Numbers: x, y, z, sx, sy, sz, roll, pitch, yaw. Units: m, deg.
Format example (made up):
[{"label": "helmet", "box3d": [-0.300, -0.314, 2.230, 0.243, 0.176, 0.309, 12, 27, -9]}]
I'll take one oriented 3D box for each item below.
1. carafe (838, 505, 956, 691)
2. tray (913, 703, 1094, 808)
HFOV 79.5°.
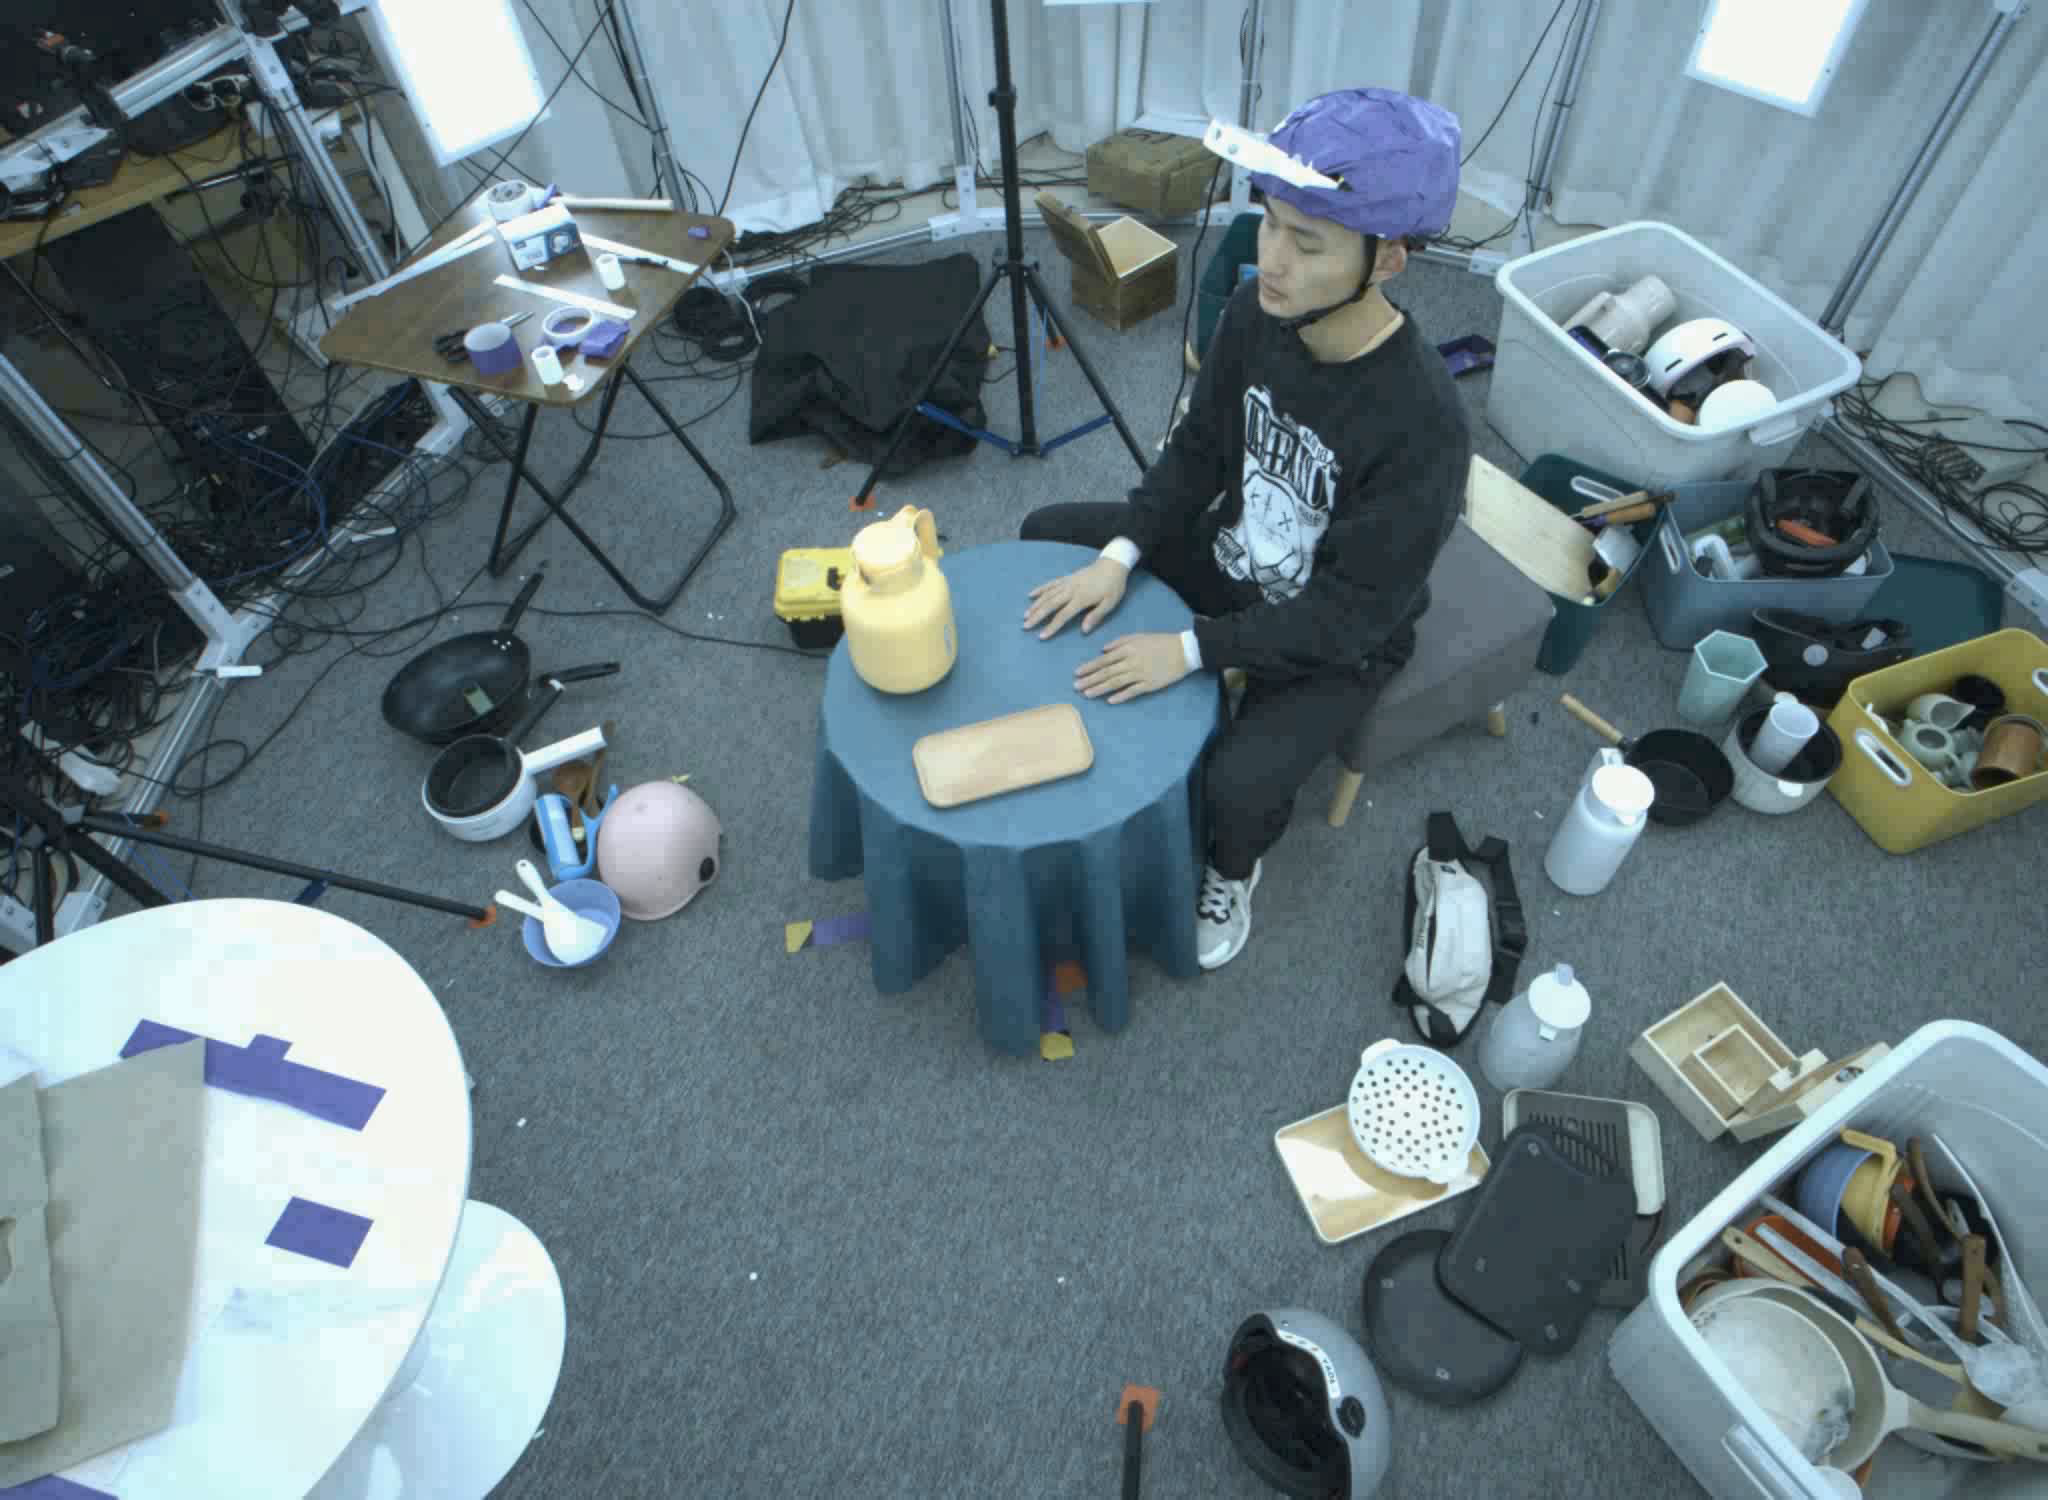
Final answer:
[{"label": "carafe", "box3d": [-0.180, -0.229, 1.790, 0.162, 0.263, 0.202, 20, 60, 15]}, {"label": "tray", "box3d": [-0.030, 0.007, 1.768, 0.252, 0.023, 0.128, -13, 58, -8]}]
